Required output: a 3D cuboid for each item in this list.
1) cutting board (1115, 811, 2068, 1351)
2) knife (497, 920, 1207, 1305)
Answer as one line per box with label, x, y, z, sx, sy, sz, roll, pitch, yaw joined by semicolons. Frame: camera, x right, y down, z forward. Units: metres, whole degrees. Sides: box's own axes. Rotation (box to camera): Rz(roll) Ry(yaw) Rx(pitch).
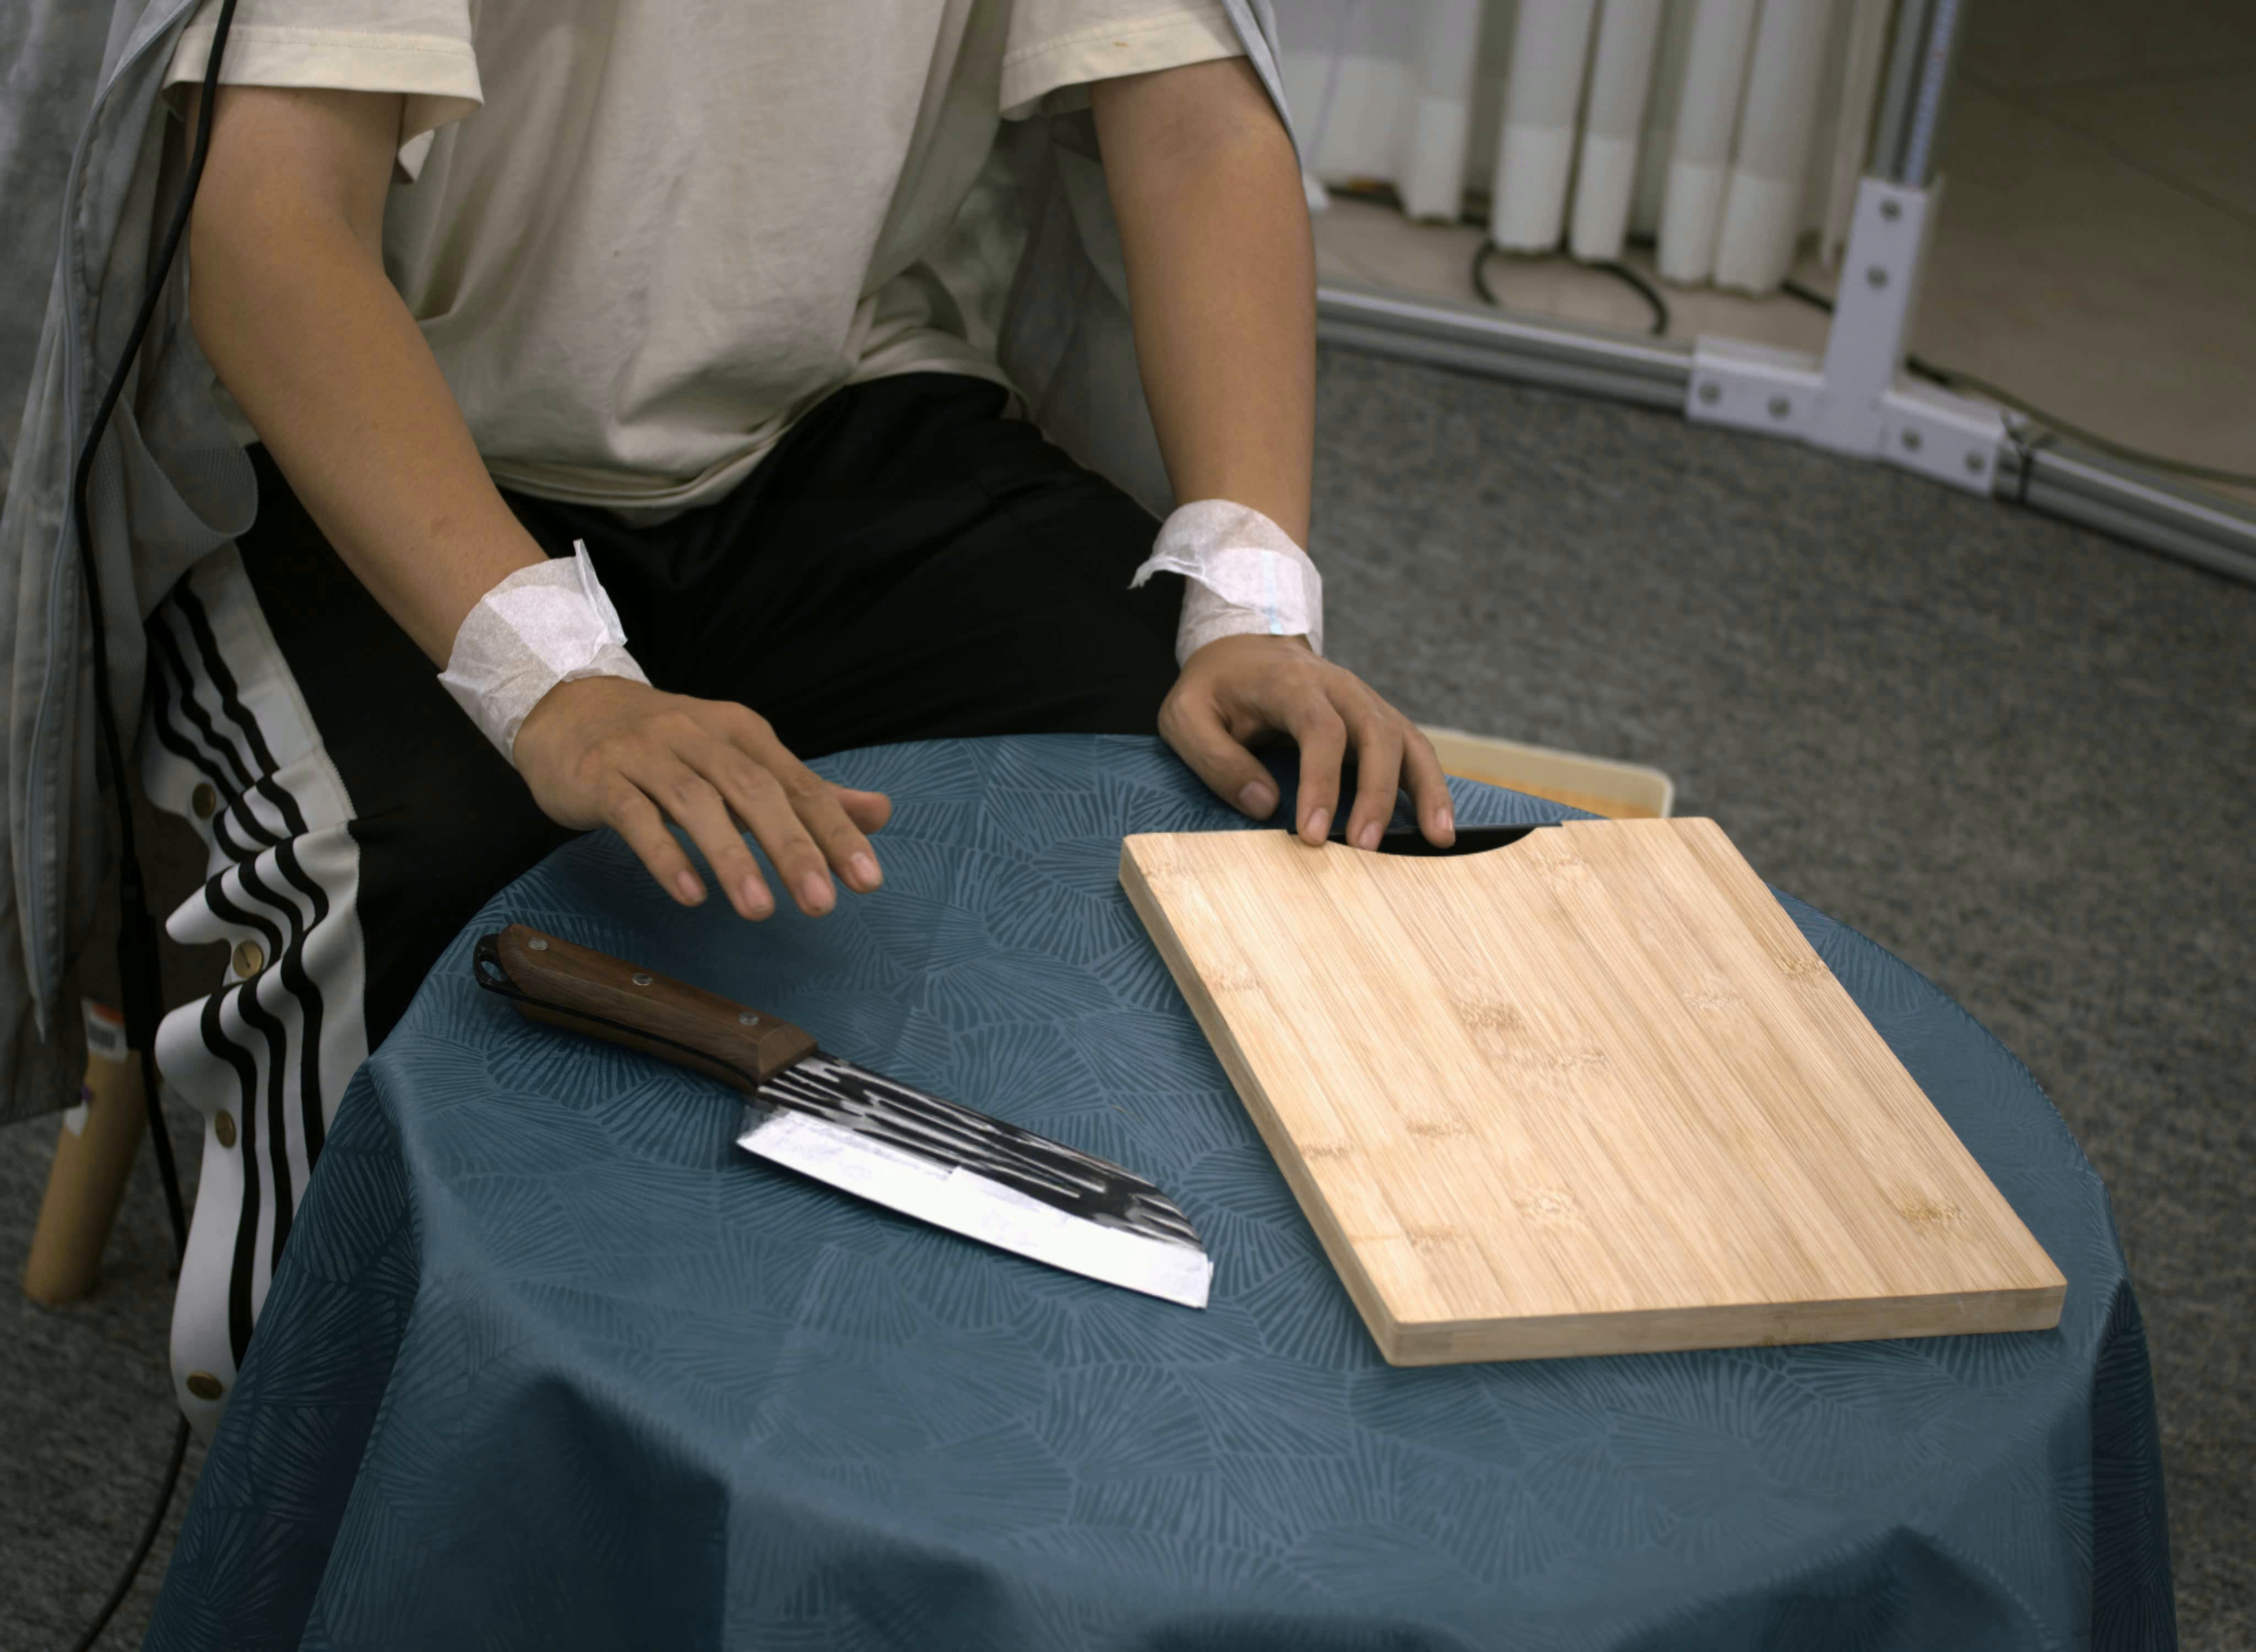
cutting board;0.155;0.085;1.899;0.249;0.023;0.351;-2;28;-17
knife;-0.100;0.099;1.810;0.300;0.024;0.068;21;31;20
